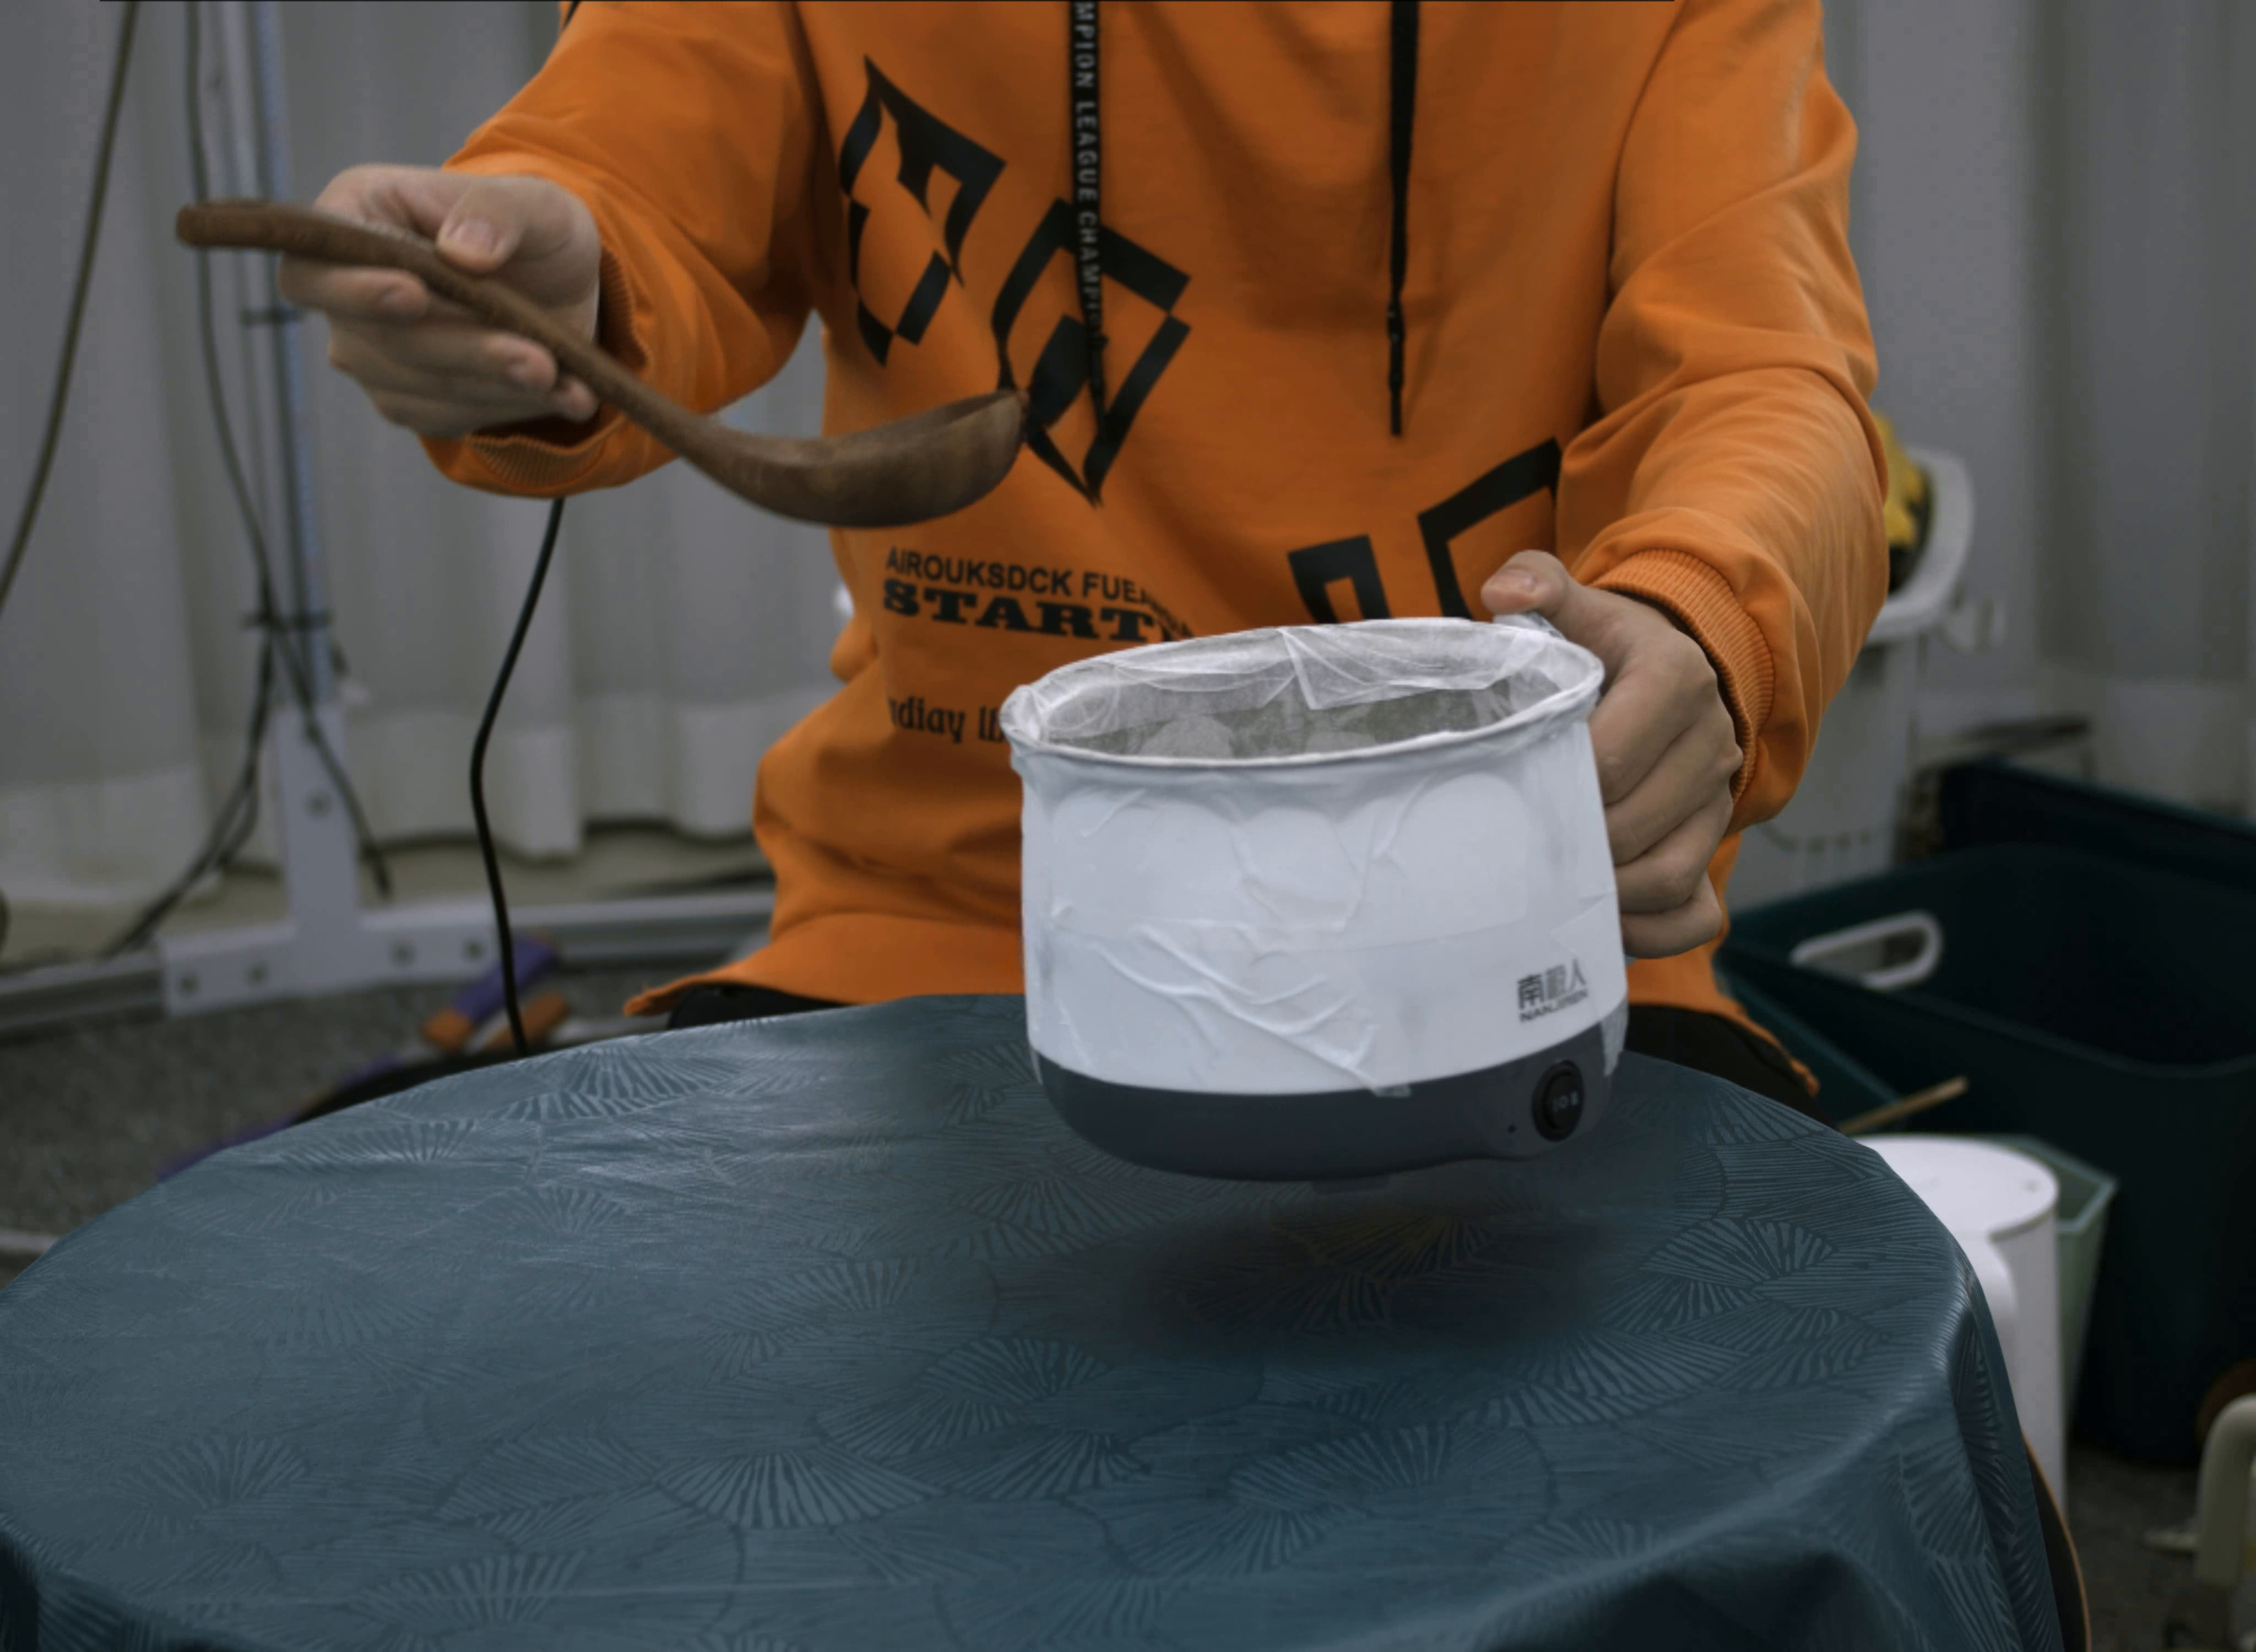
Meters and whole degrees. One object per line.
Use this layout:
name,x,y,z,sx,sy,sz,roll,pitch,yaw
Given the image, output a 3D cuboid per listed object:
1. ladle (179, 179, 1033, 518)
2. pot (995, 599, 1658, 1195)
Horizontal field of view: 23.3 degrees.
ladle,-0.152,-0.154,1.615,0.260,0.065,0.076,26,8,3
pot,0.073,0.014,1.622,0.179,0.136,0.233,8,19,42
